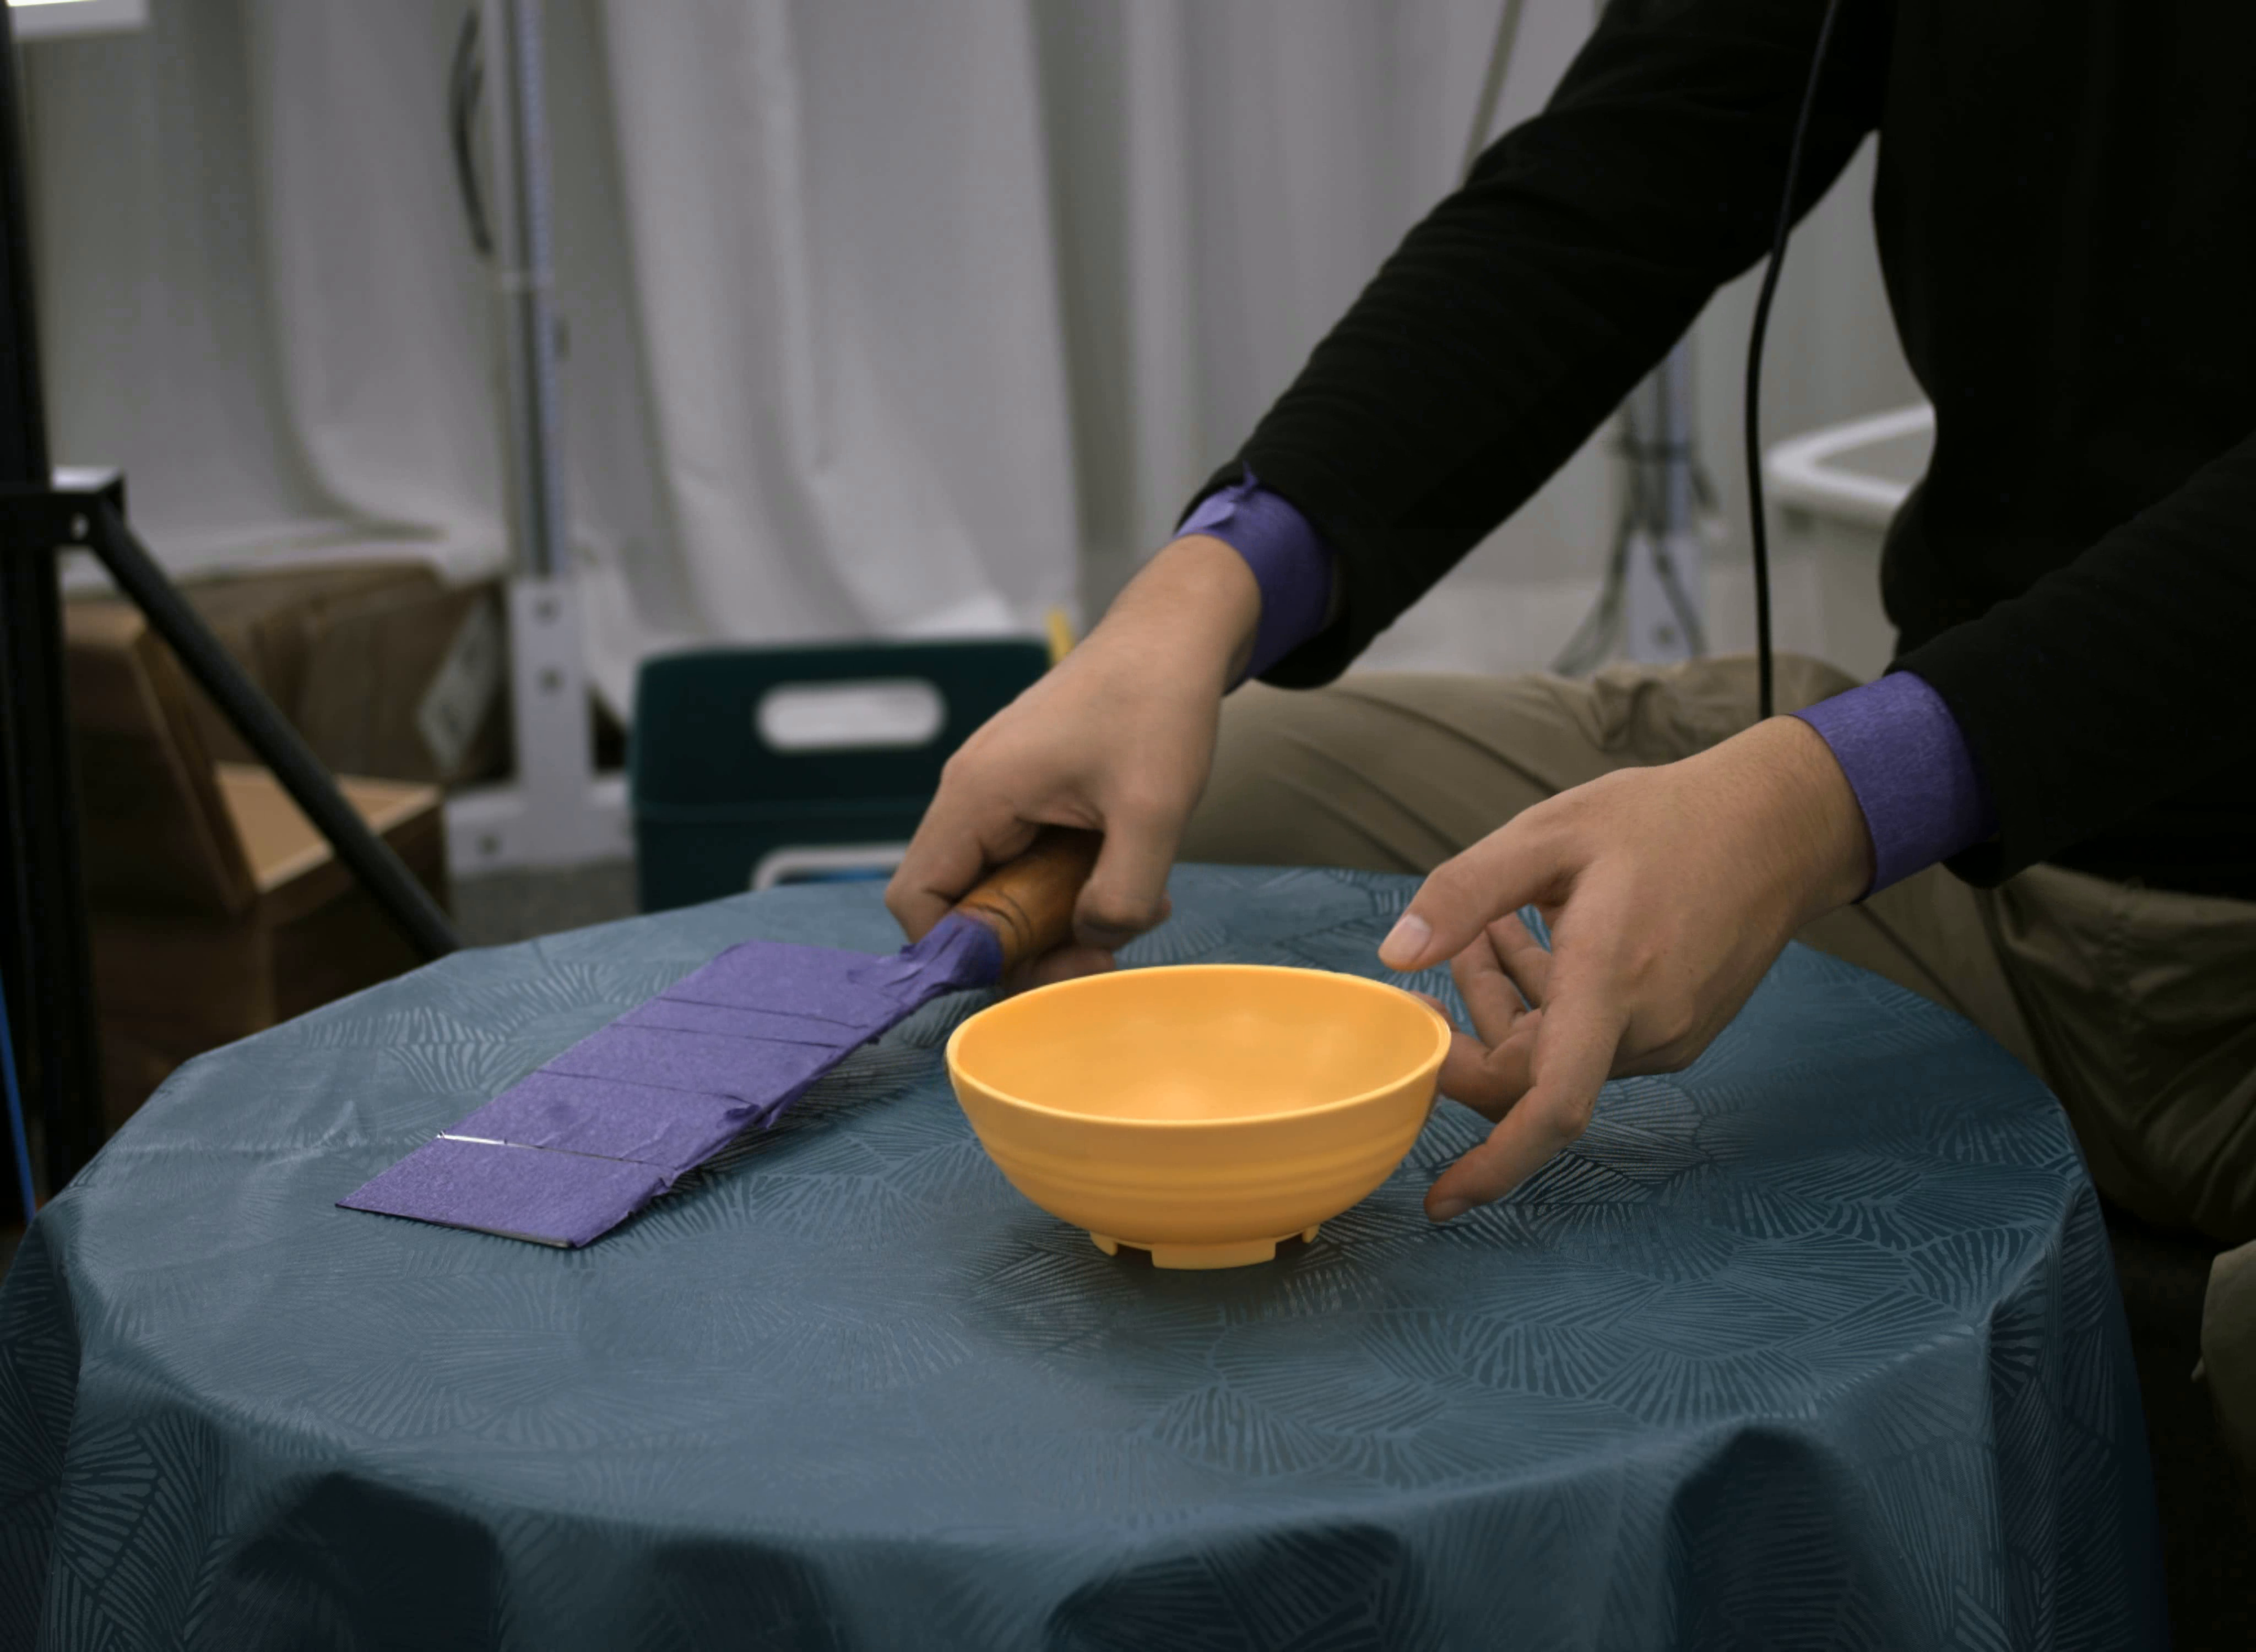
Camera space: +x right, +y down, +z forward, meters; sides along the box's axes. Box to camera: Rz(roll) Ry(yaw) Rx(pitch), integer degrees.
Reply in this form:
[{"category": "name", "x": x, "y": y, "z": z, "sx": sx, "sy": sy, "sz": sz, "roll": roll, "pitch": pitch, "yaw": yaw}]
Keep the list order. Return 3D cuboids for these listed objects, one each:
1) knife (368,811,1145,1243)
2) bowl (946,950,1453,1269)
[{"category": "knife", "x": -0.113, "y": 0.057, "z": 1.664, "sx": 0.106, "sy": 0.032, "sz": 0.310, "roll": 8, "pitch": 24, "yaw": 33}, {"category": "bowl", "x": 0.021, "y": 0.087, "z": 1.515, "sx": 0.144, "sy": 0.060, "sz": 0.146, "roll": -2, "pitch": 17, "yaw": -1}]
